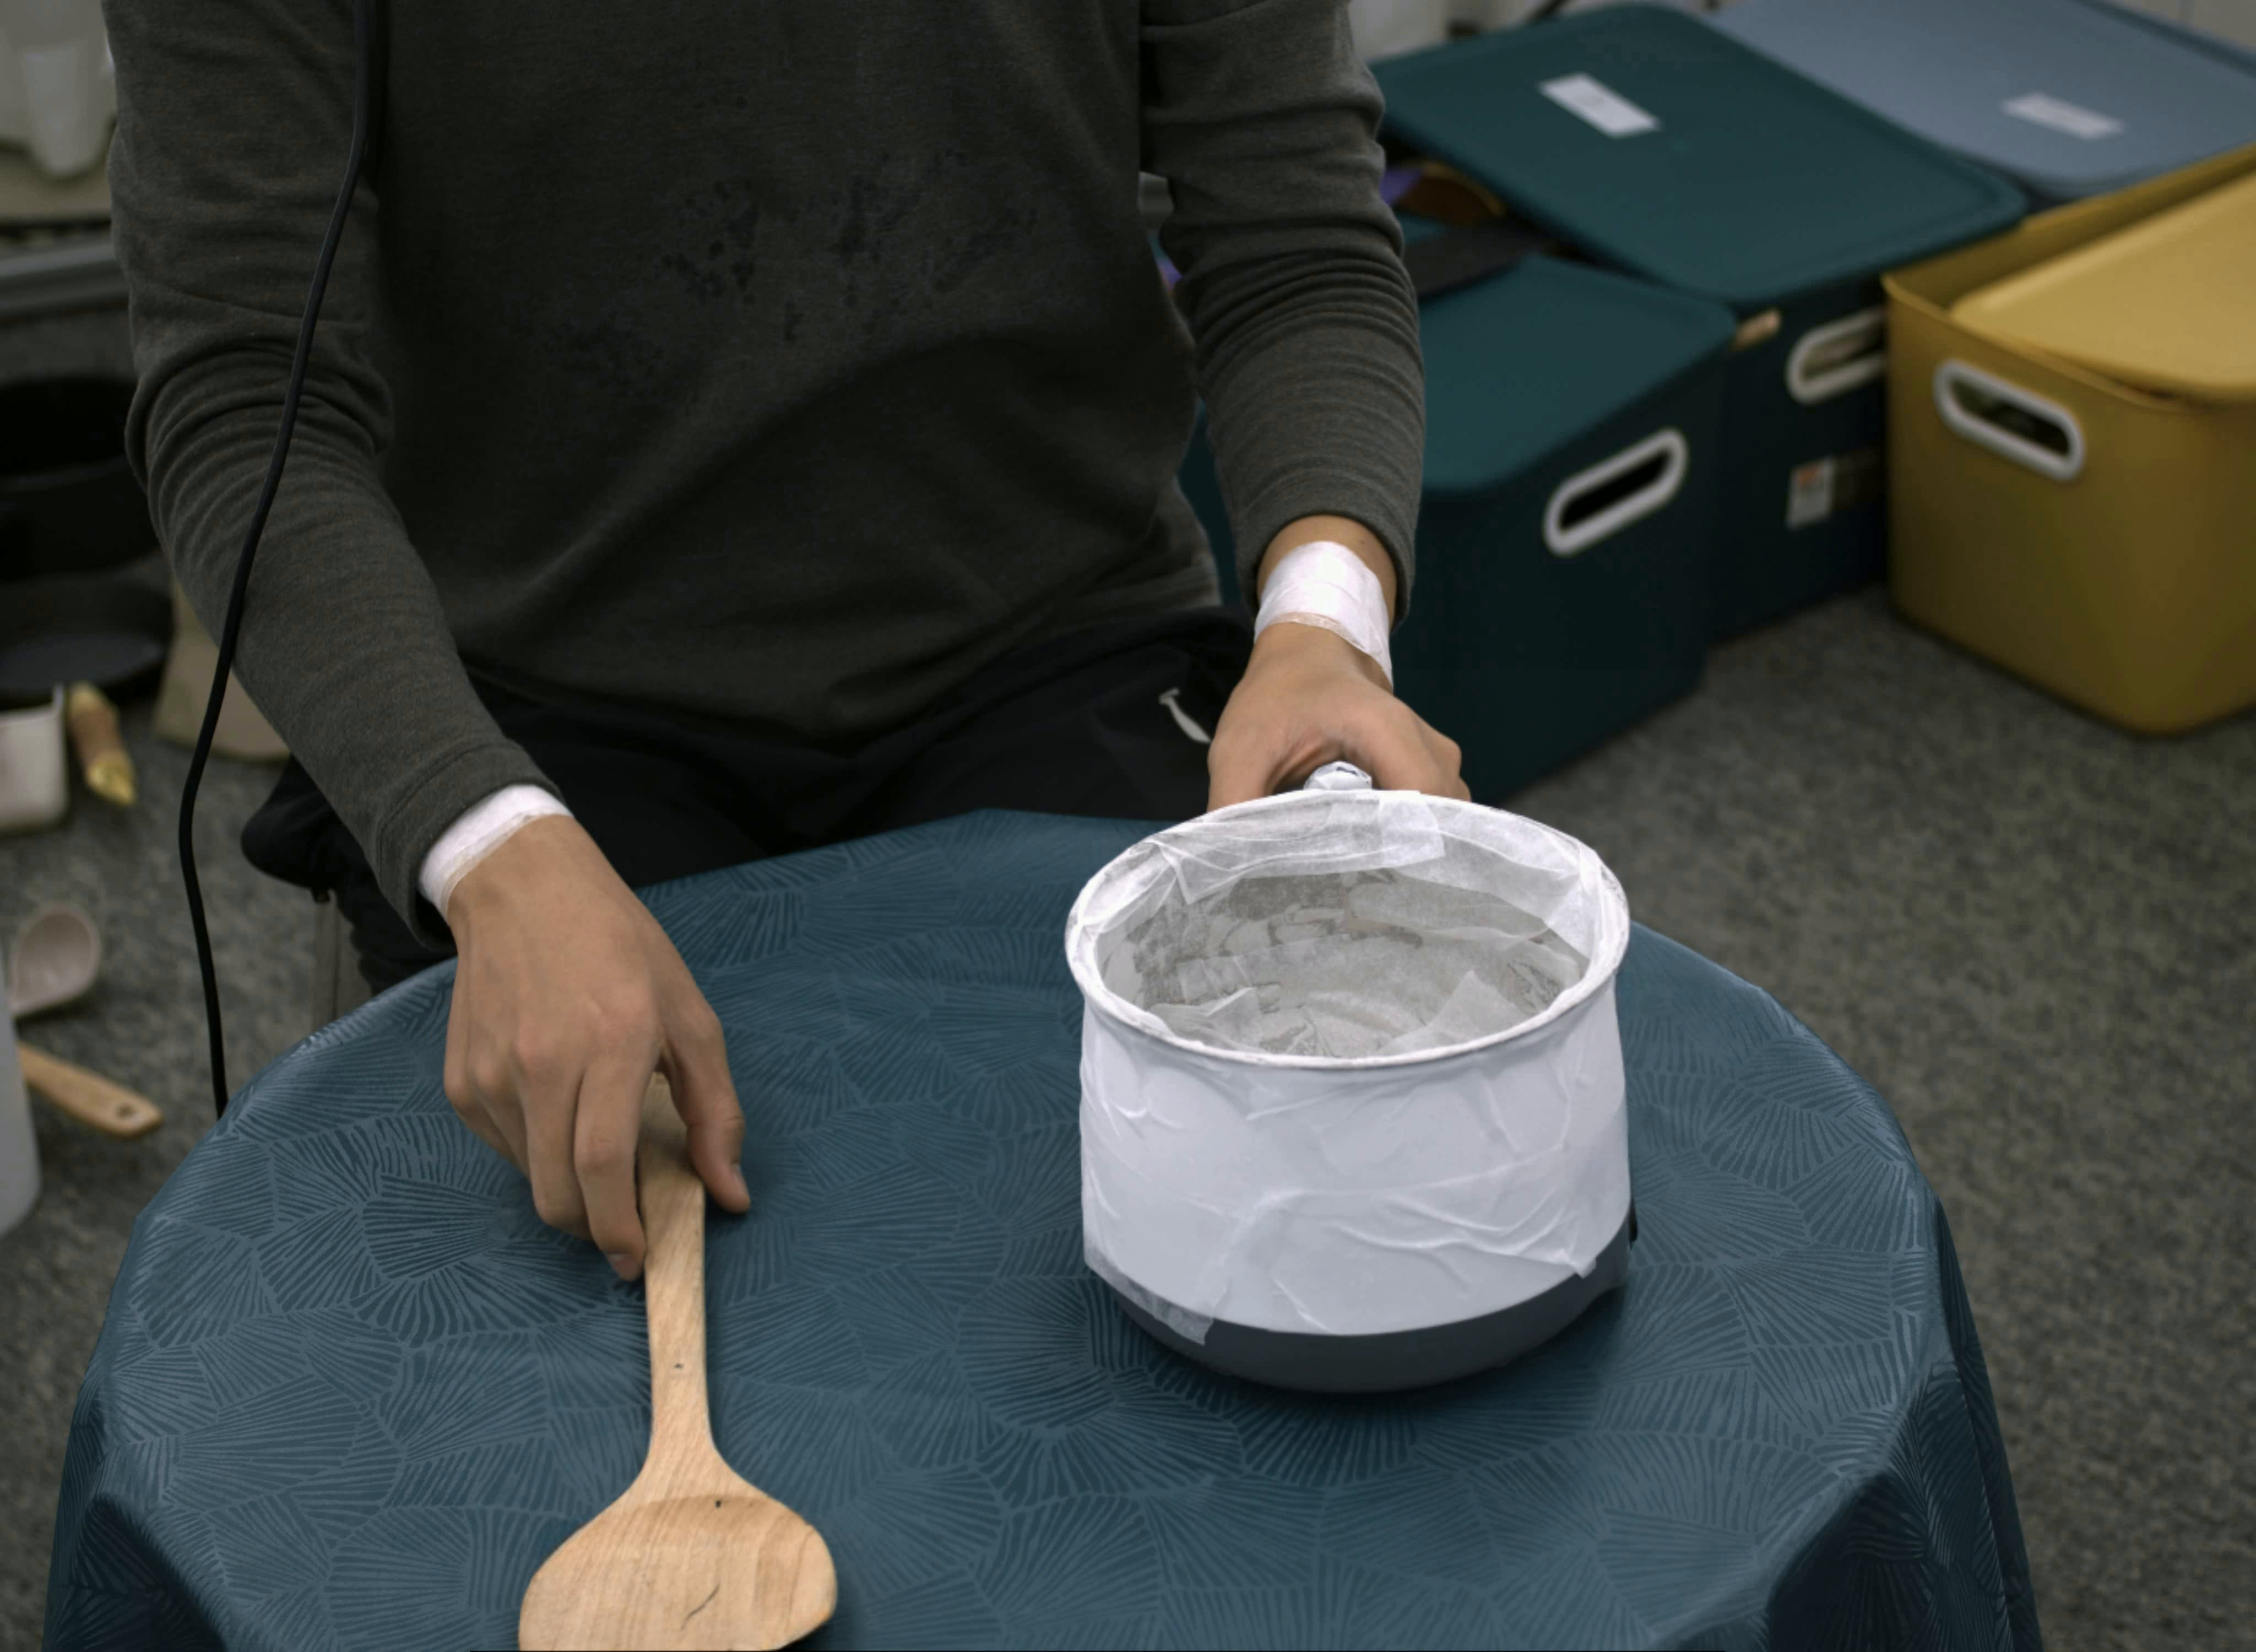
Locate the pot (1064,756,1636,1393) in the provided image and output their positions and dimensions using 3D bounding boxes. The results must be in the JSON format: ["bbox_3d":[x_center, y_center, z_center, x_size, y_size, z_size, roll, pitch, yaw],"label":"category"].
[{"bbox_3d":[0.071,0.072,1.803,0.178,0.135,0.237,-2,27,0],"label":"pot"}]

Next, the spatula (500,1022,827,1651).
[{"bbox_3d":[-0.151,0.158,1.785,0.095,0.018,0.396,-4,28,-4],"label":"spatula"}]
